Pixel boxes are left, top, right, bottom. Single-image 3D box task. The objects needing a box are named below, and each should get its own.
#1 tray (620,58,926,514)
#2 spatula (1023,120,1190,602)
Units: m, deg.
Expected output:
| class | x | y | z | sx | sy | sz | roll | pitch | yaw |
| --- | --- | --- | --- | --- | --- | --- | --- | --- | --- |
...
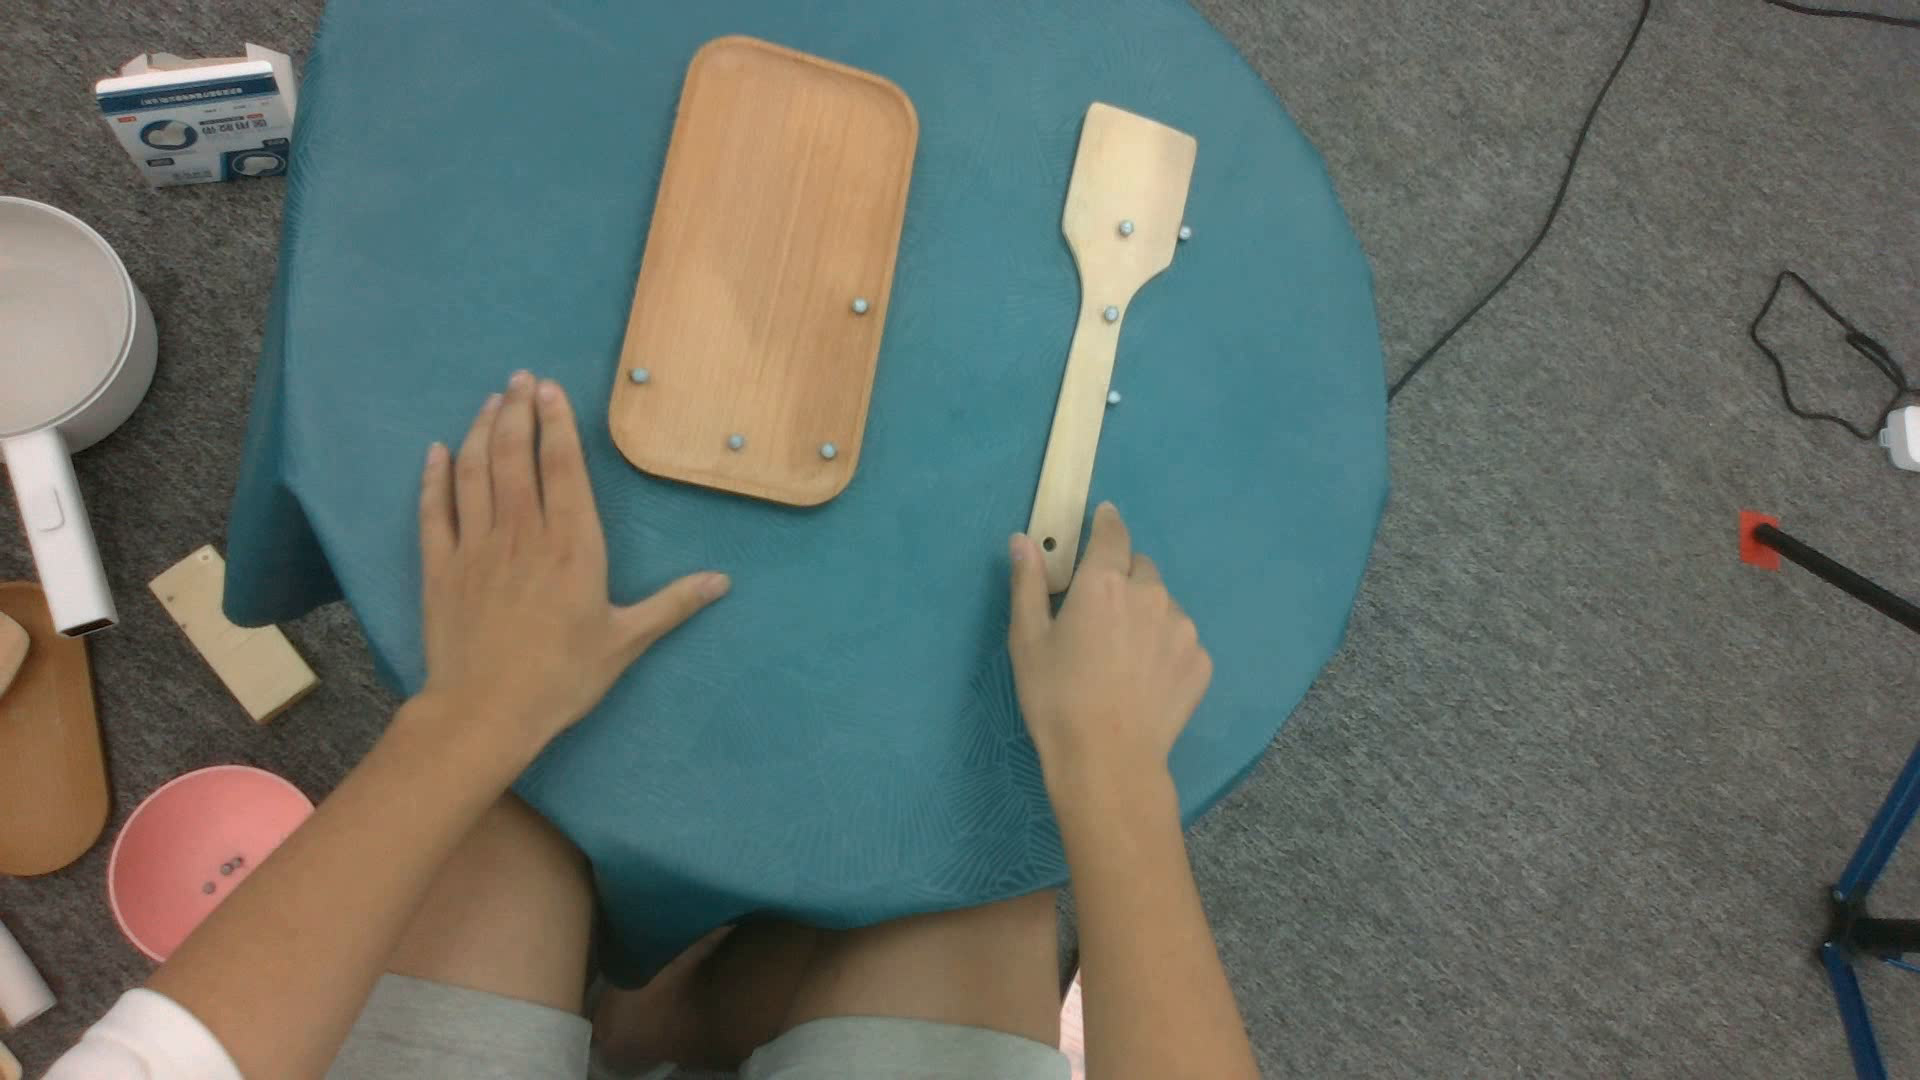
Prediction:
| class | x | y | z | sx | sy | sz | roll | pitch | yaw |
| --- | --- | --- | --- | --- | --- | --- | --- | --- | --- |
| tray | -0.098 | -0.140 | 0.746 | 0.130 | 0.023 | 0.251 | 14 | 73 | -13 |
| spatula | 0.077 | -0.104 | 0.784 | 0.072 | 0.010 | 0.294 | 16 | 73 | -11 |
